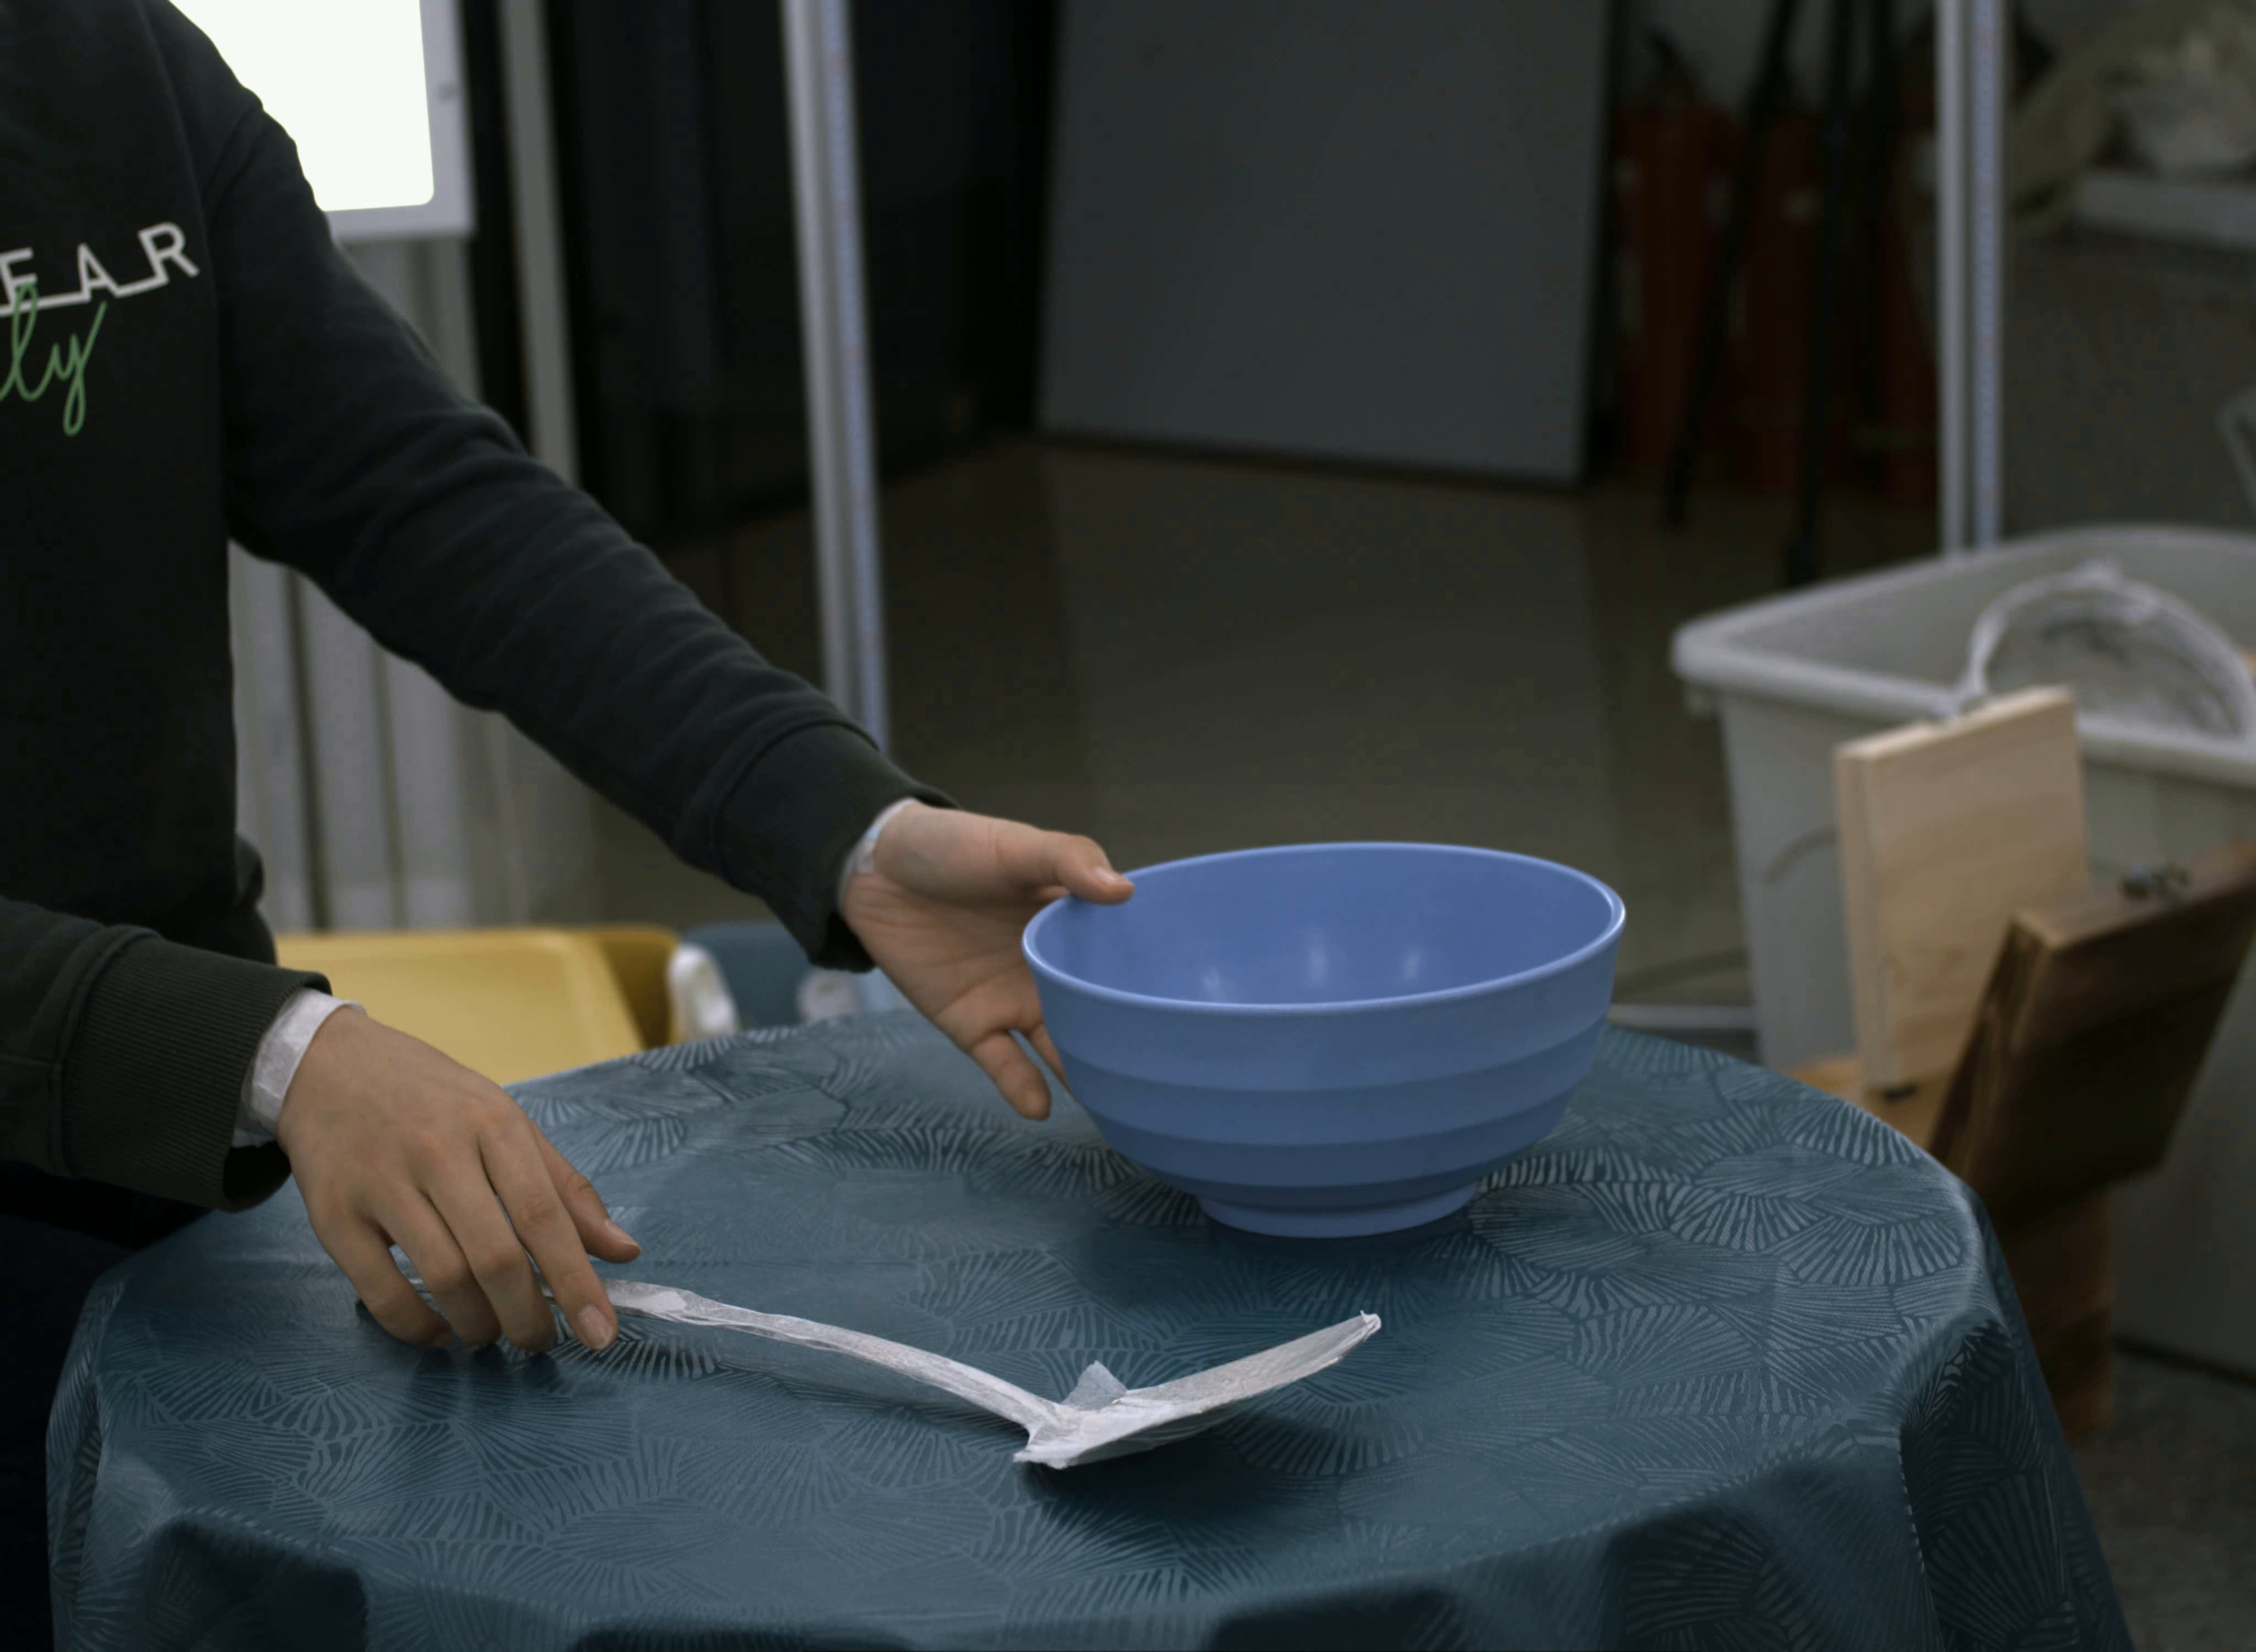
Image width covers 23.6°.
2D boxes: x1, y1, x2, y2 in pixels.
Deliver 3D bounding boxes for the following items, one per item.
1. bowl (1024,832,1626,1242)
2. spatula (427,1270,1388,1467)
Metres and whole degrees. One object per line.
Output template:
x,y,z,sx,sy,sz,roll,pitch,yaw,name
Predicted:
0.066,0.074,1.742,0.194,0.096,0.197,-4,15,0,bowl
-0.086,0.149,1.604,0.367,0.045,0.097,7,19,38,spatula
